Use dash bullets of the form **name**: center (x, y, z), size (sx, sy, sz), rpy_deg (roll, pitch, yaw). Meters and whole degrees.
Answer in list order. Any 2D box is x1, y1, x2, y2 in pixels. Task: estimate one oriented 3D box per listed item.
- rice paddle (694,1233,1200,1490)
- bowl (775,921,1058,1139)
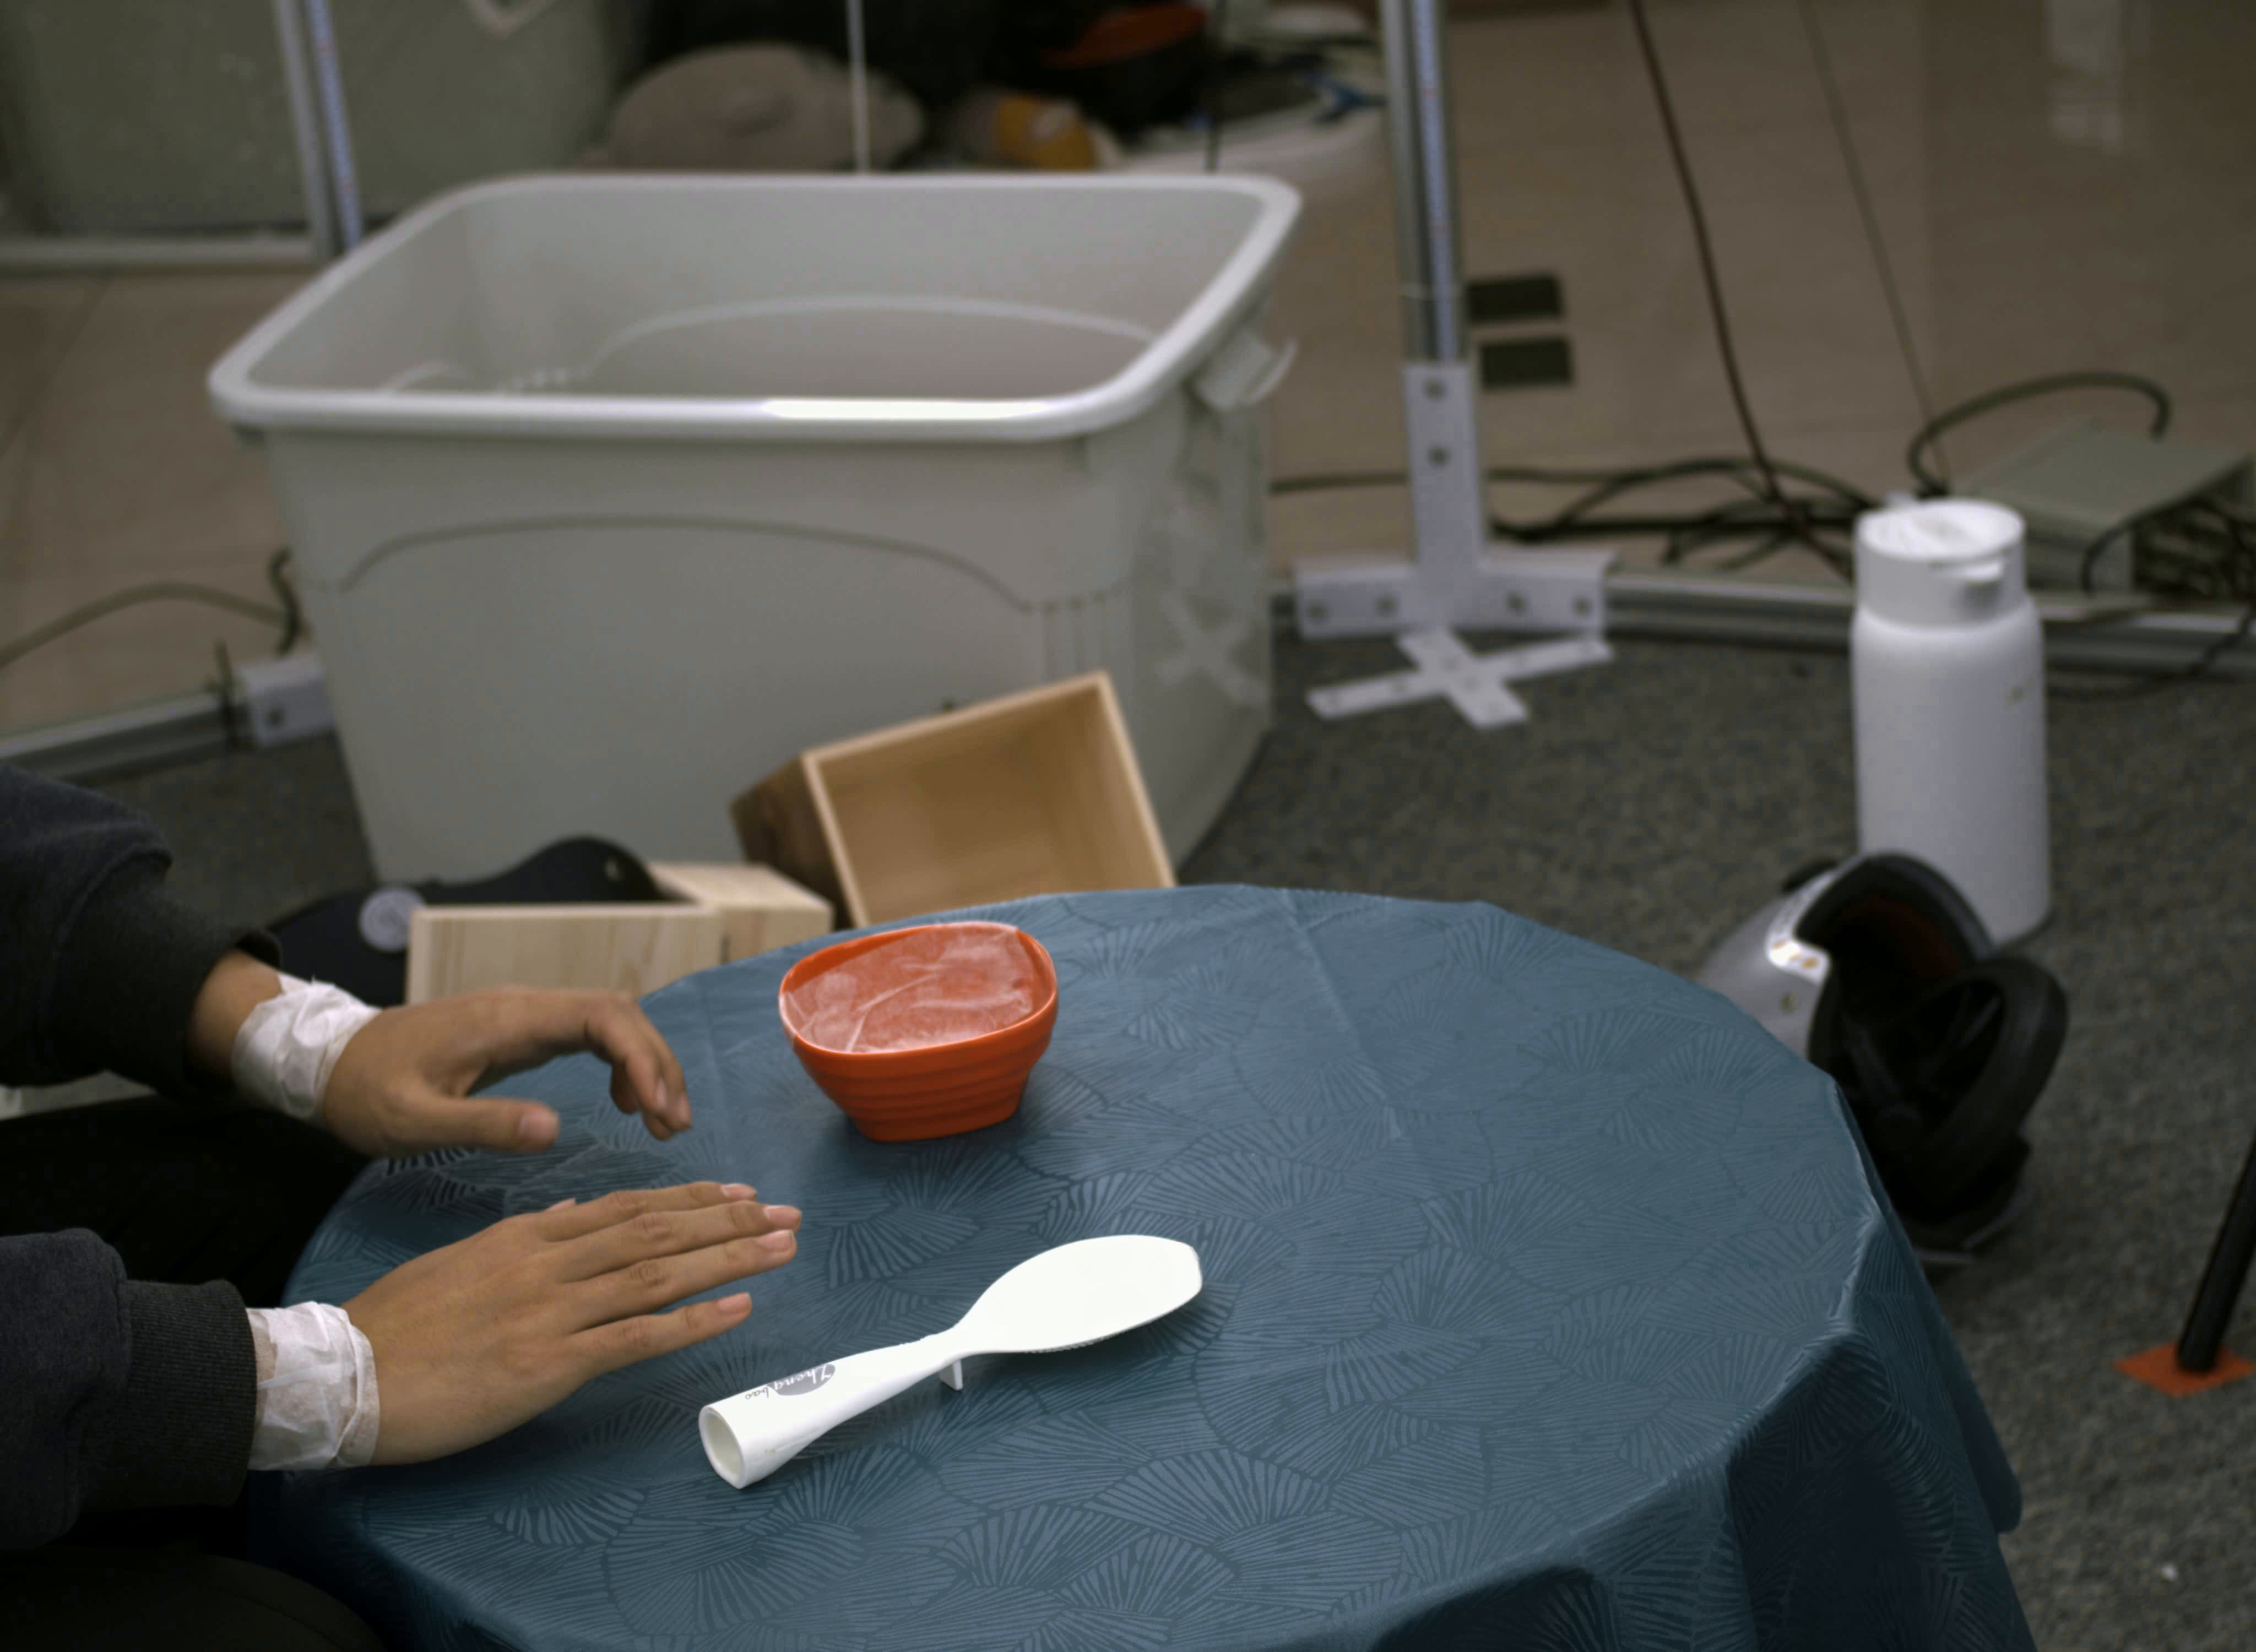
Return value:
- **rice paddle**: center (-0.062, 0.184, 2.028), size (0.204, 0.030, 0.068), rpy_deg (-21, 30, -29)
- **bowl**: center (-0.081, 0.084, 2.221), size (0.119, 0.052, 0.117), rpy_deg (-4, 25, 2)
